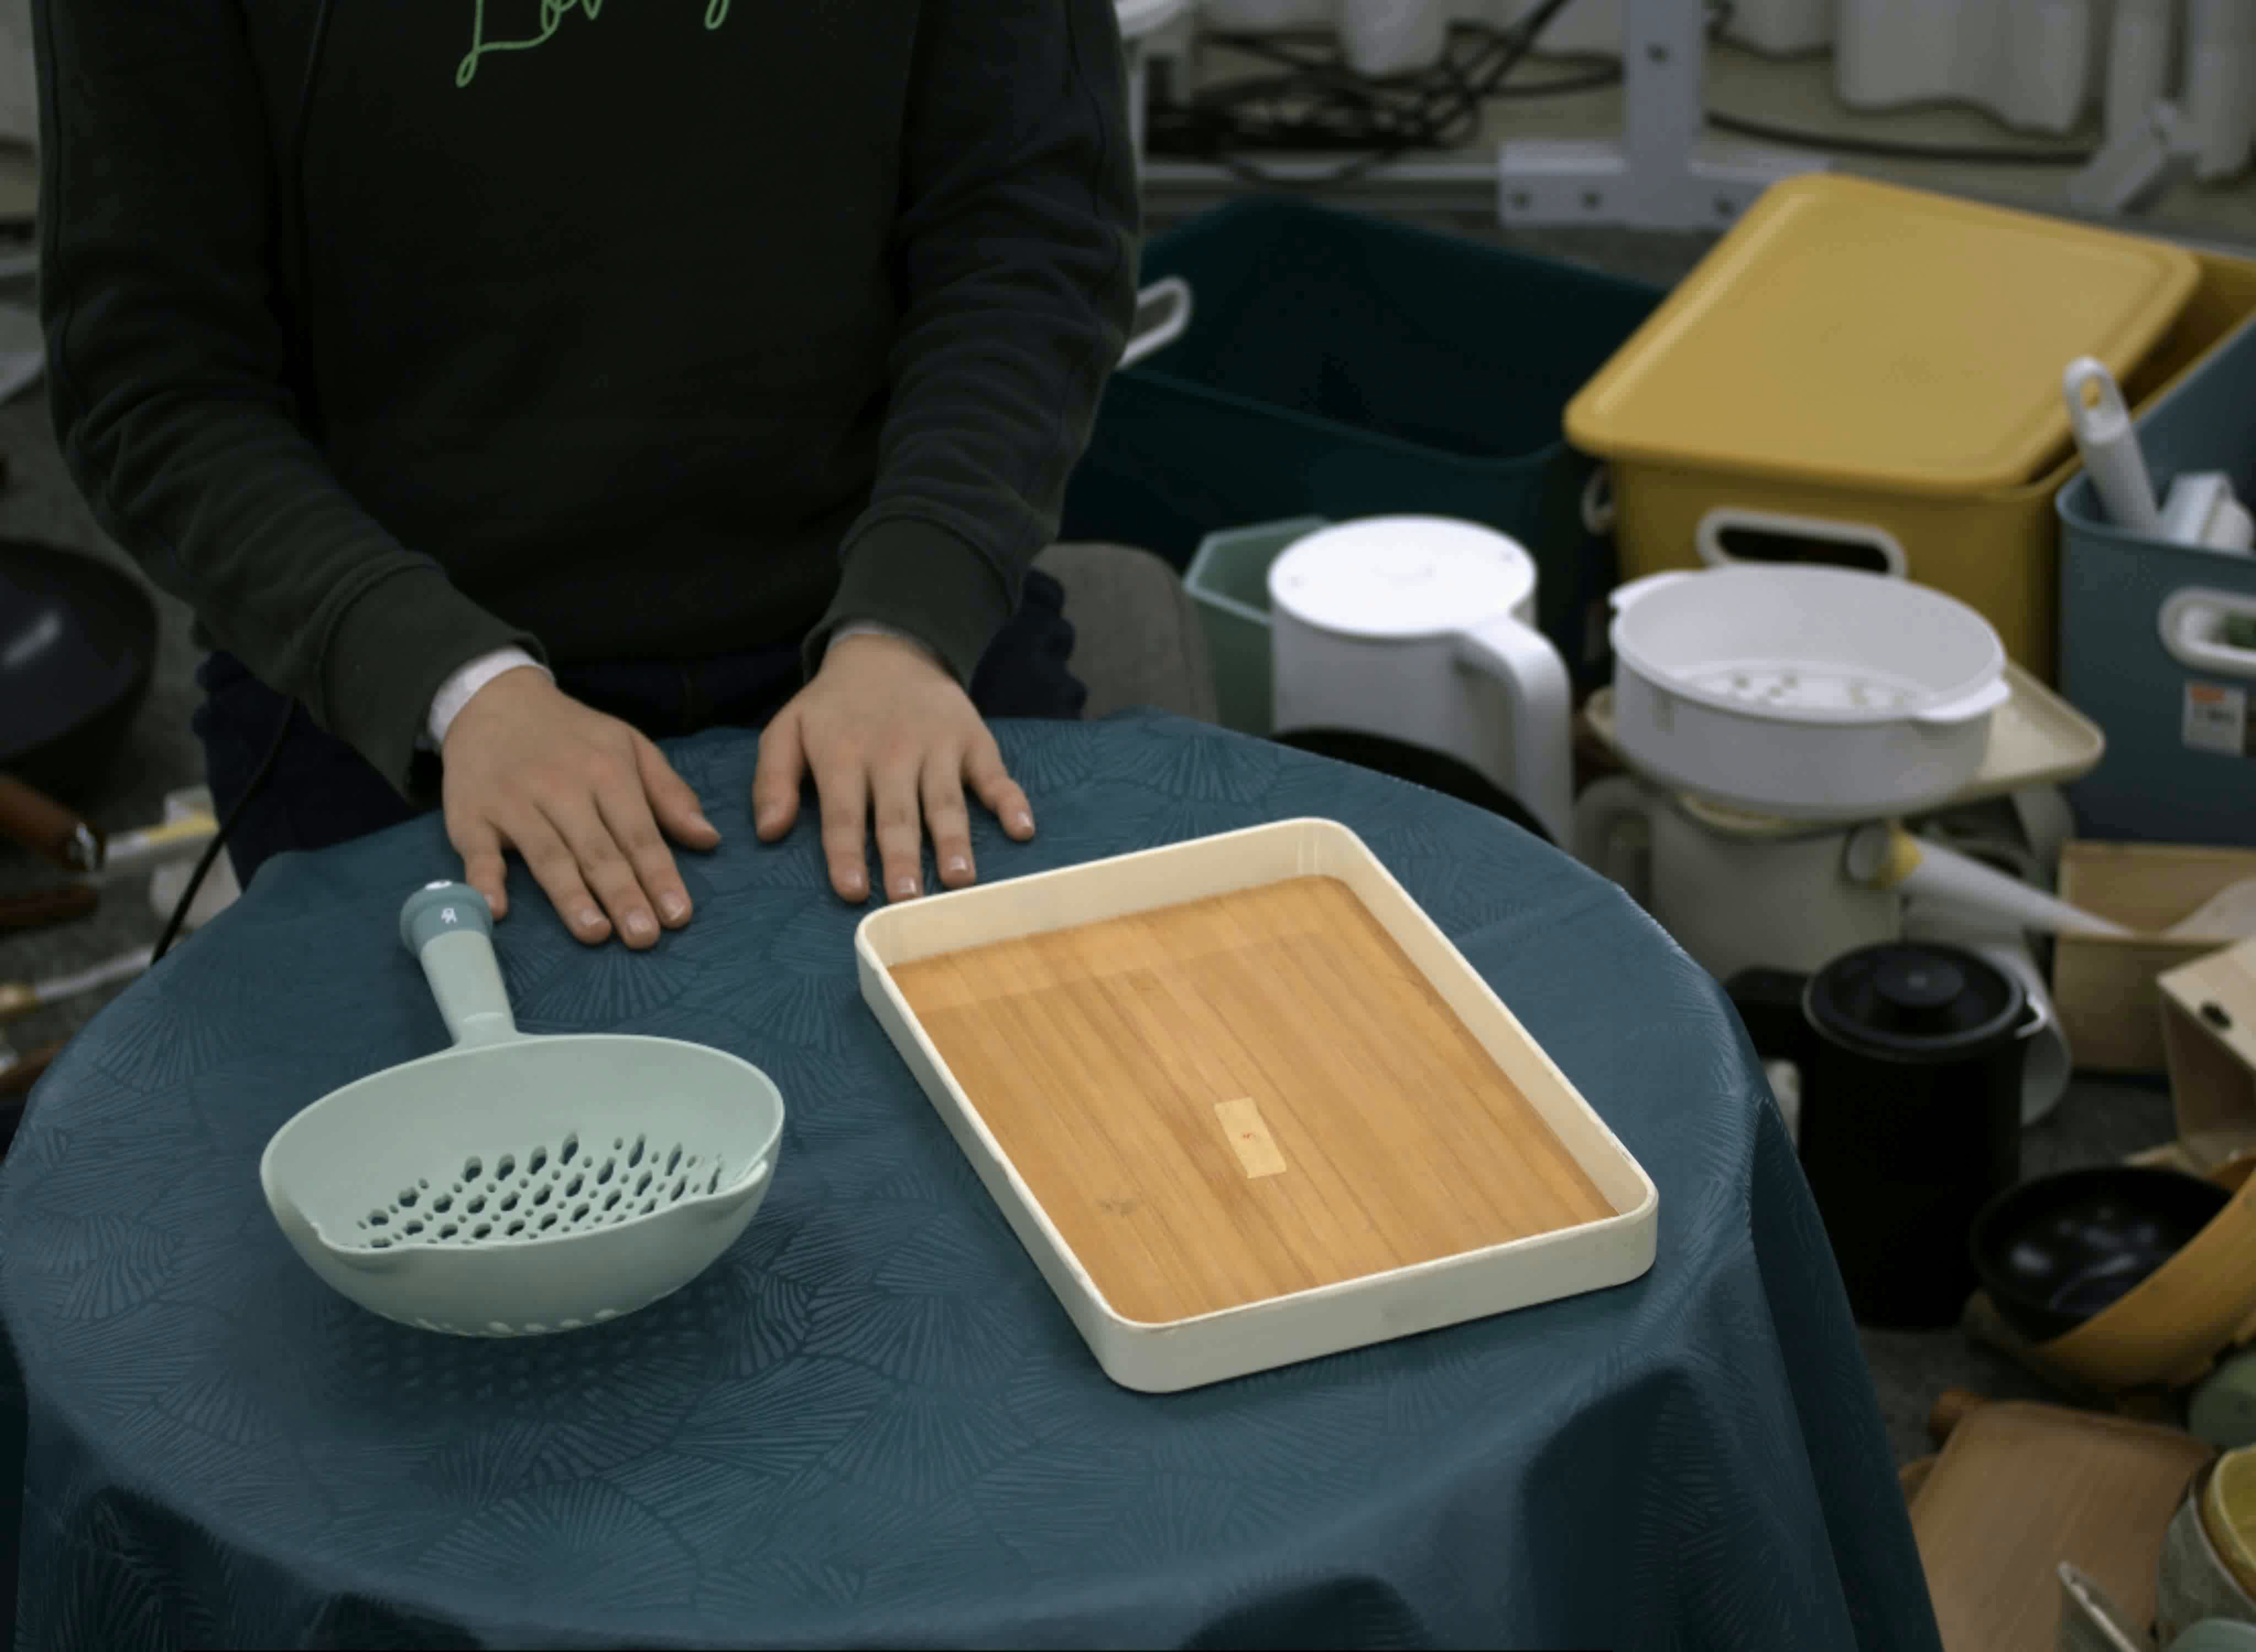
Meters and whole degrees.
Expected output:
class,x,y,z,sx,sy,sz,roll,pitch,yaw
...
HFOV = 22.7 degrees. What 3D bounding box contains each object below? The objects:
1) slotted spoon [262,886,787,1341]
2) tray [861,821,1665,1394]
class,x,y,z,sx,sy,sz,roll,pitch,yaw
slotted spoon,-0.213,0.081,1.892,0.169,0.074,0.363,-8,28,-11
tray,0.039,0.089,1.893,0.192,0.027,0.303,-11,29,-16
